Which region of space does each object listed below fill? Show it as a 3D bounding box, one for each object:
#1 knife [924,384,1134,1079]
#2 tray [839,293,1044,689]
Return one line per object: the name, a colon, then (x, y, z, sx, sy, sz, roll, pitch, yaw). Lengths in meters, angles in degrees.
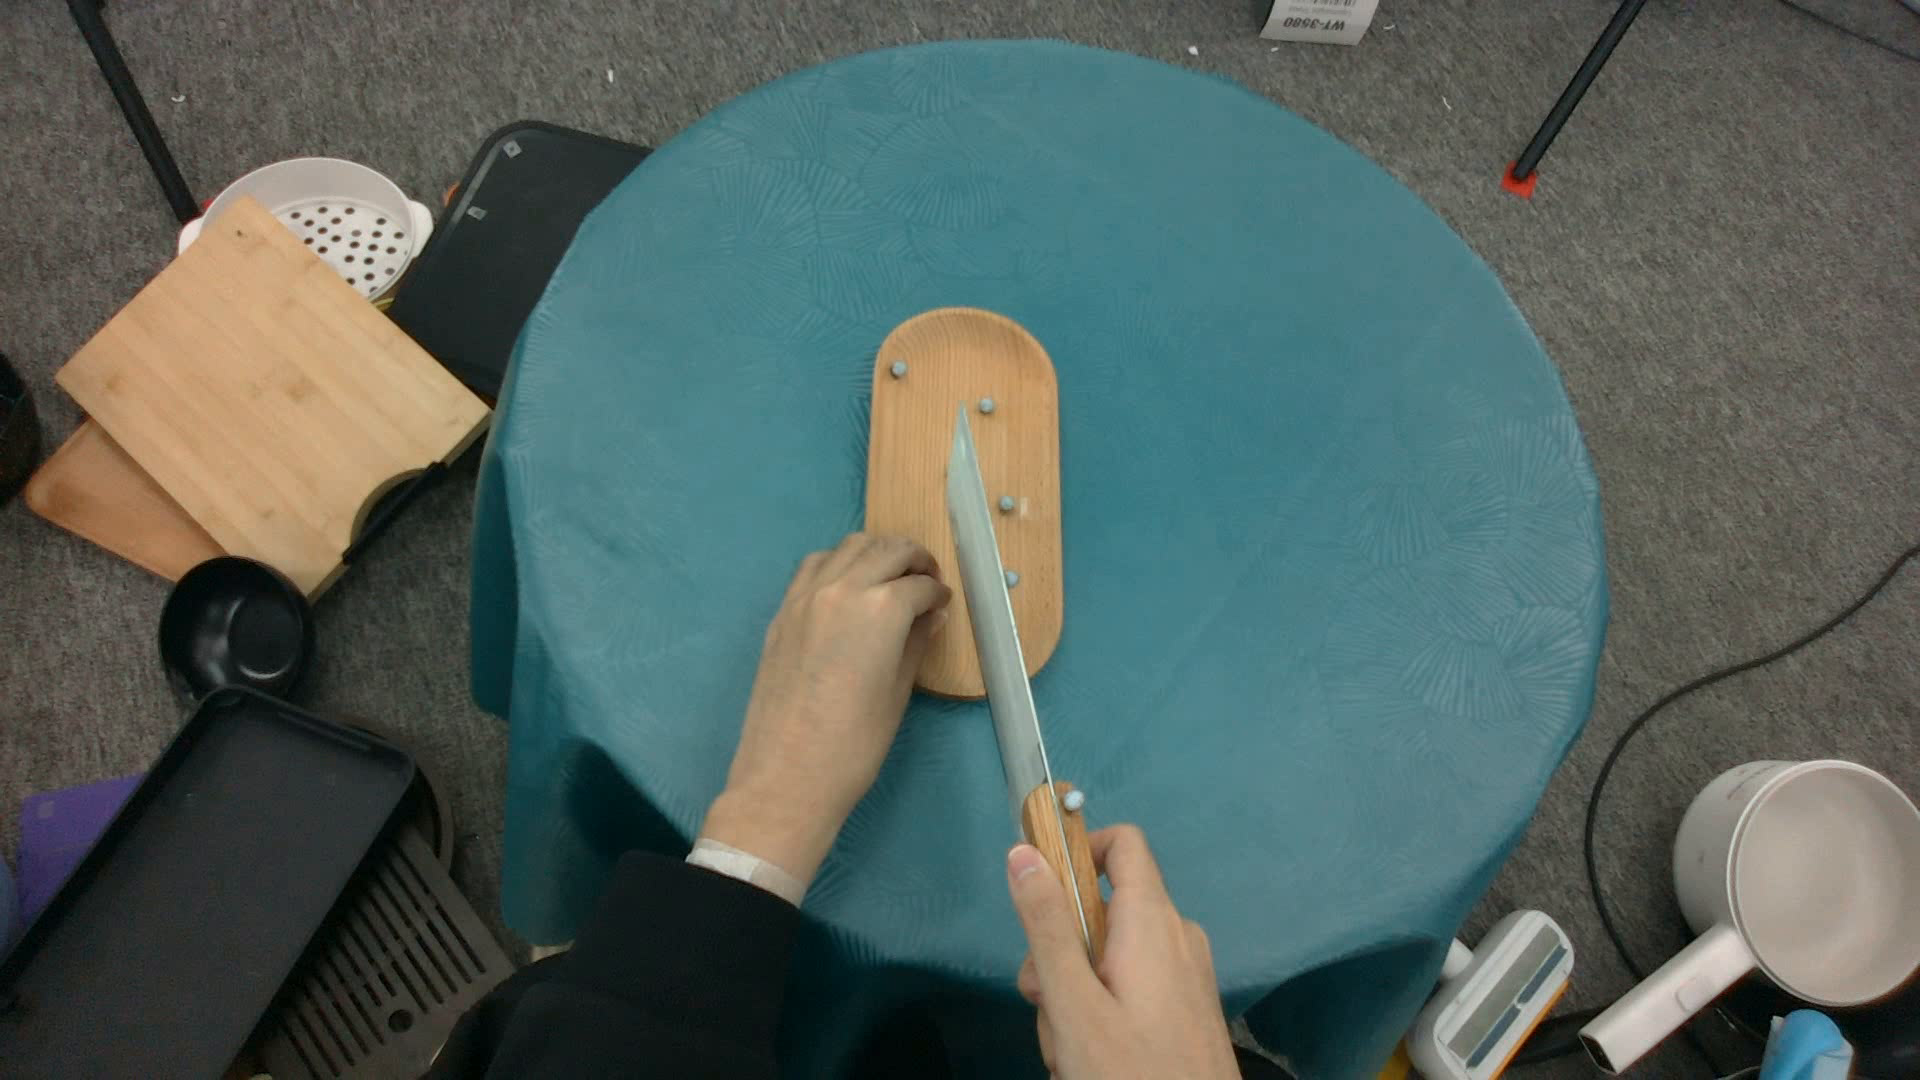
knife: (0.018, 0.079, 0.576, 0.021, 0.092, 0.306, -8, 62, -11)
tray: (-0.009, -0.031, 0.709, 0.102, 0.020, 0.232, 4, 63, -6)
